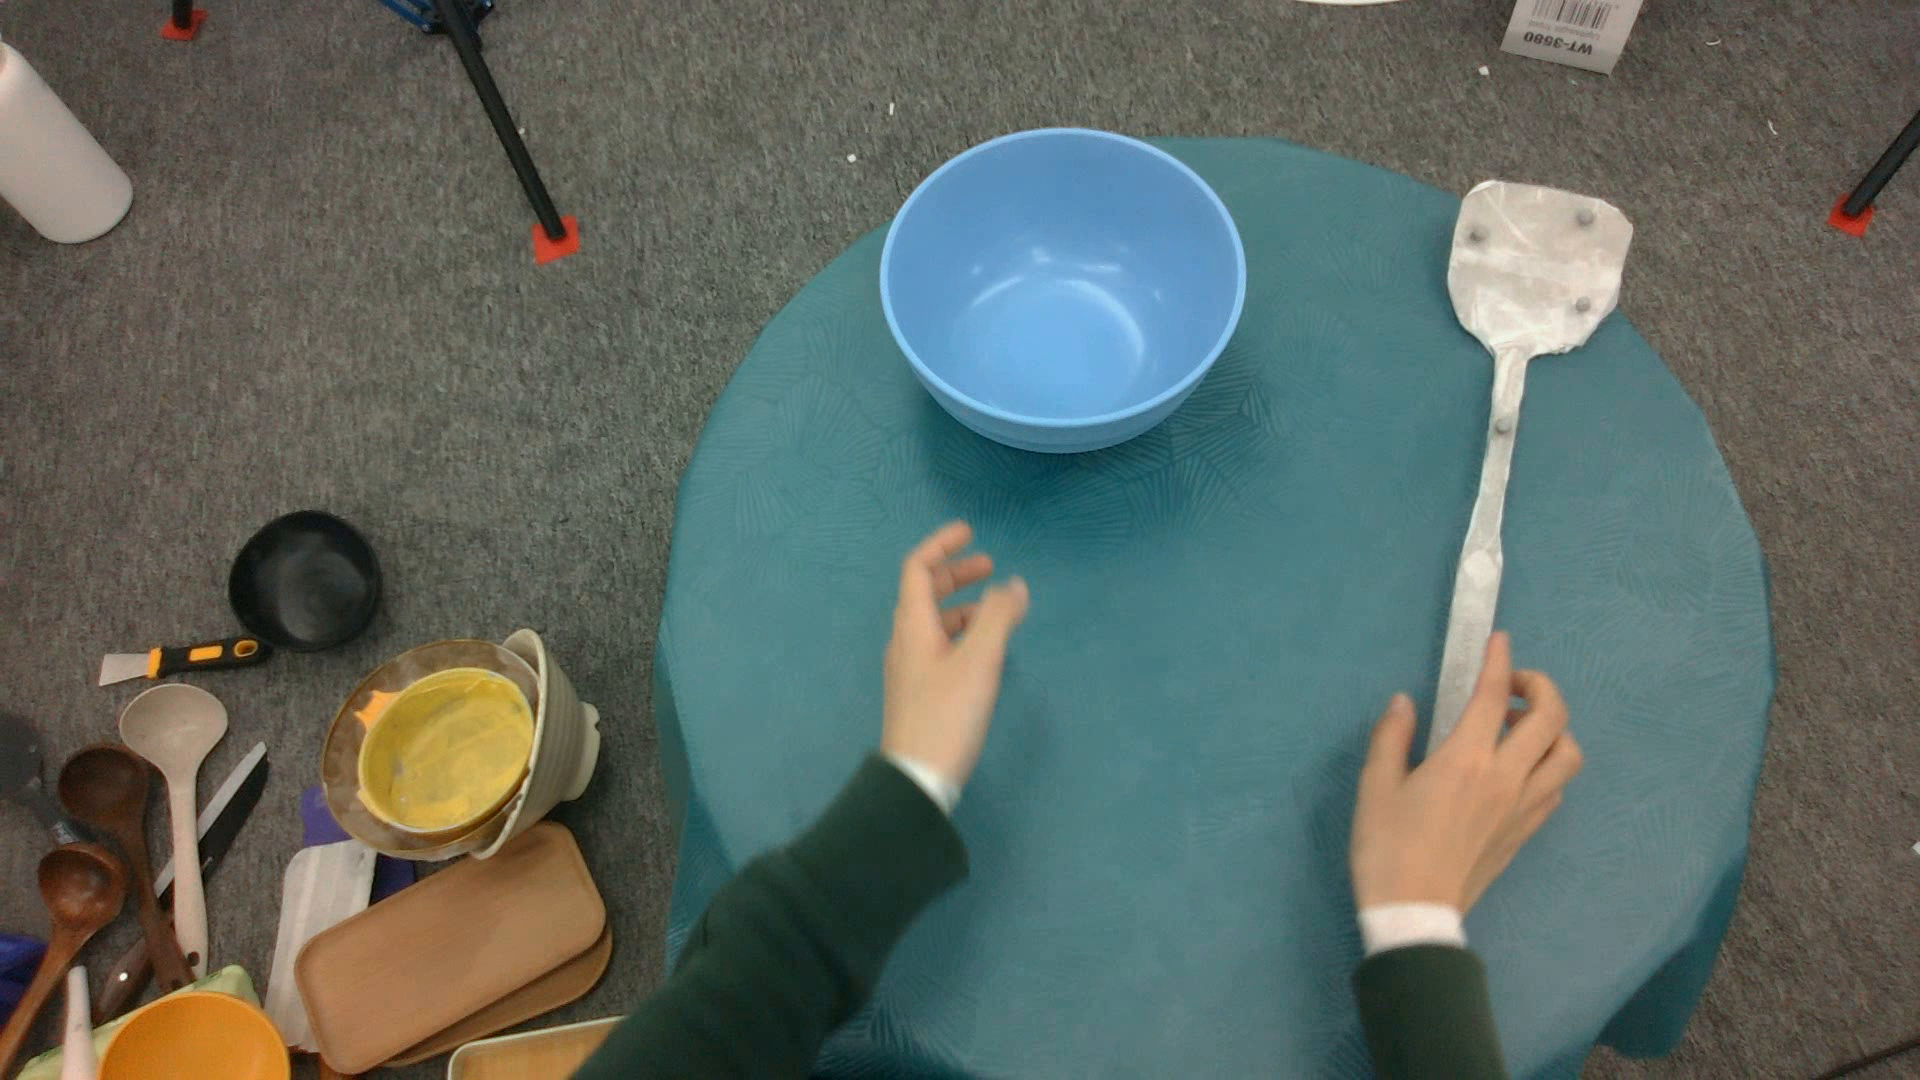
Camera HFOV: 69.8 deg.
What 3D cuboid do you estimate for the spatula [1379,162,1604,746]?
[{"bbox_3d":[0.282,-0.056,0.763,0.098,0.044,0.366,16,65,8],"label":"spatula"}]

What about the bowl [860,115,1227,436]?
[{"bbox_3d":[0.046,-0.134,0.778,0.196,0.095,0.197,0,63,1],"label":"bowl"}]
